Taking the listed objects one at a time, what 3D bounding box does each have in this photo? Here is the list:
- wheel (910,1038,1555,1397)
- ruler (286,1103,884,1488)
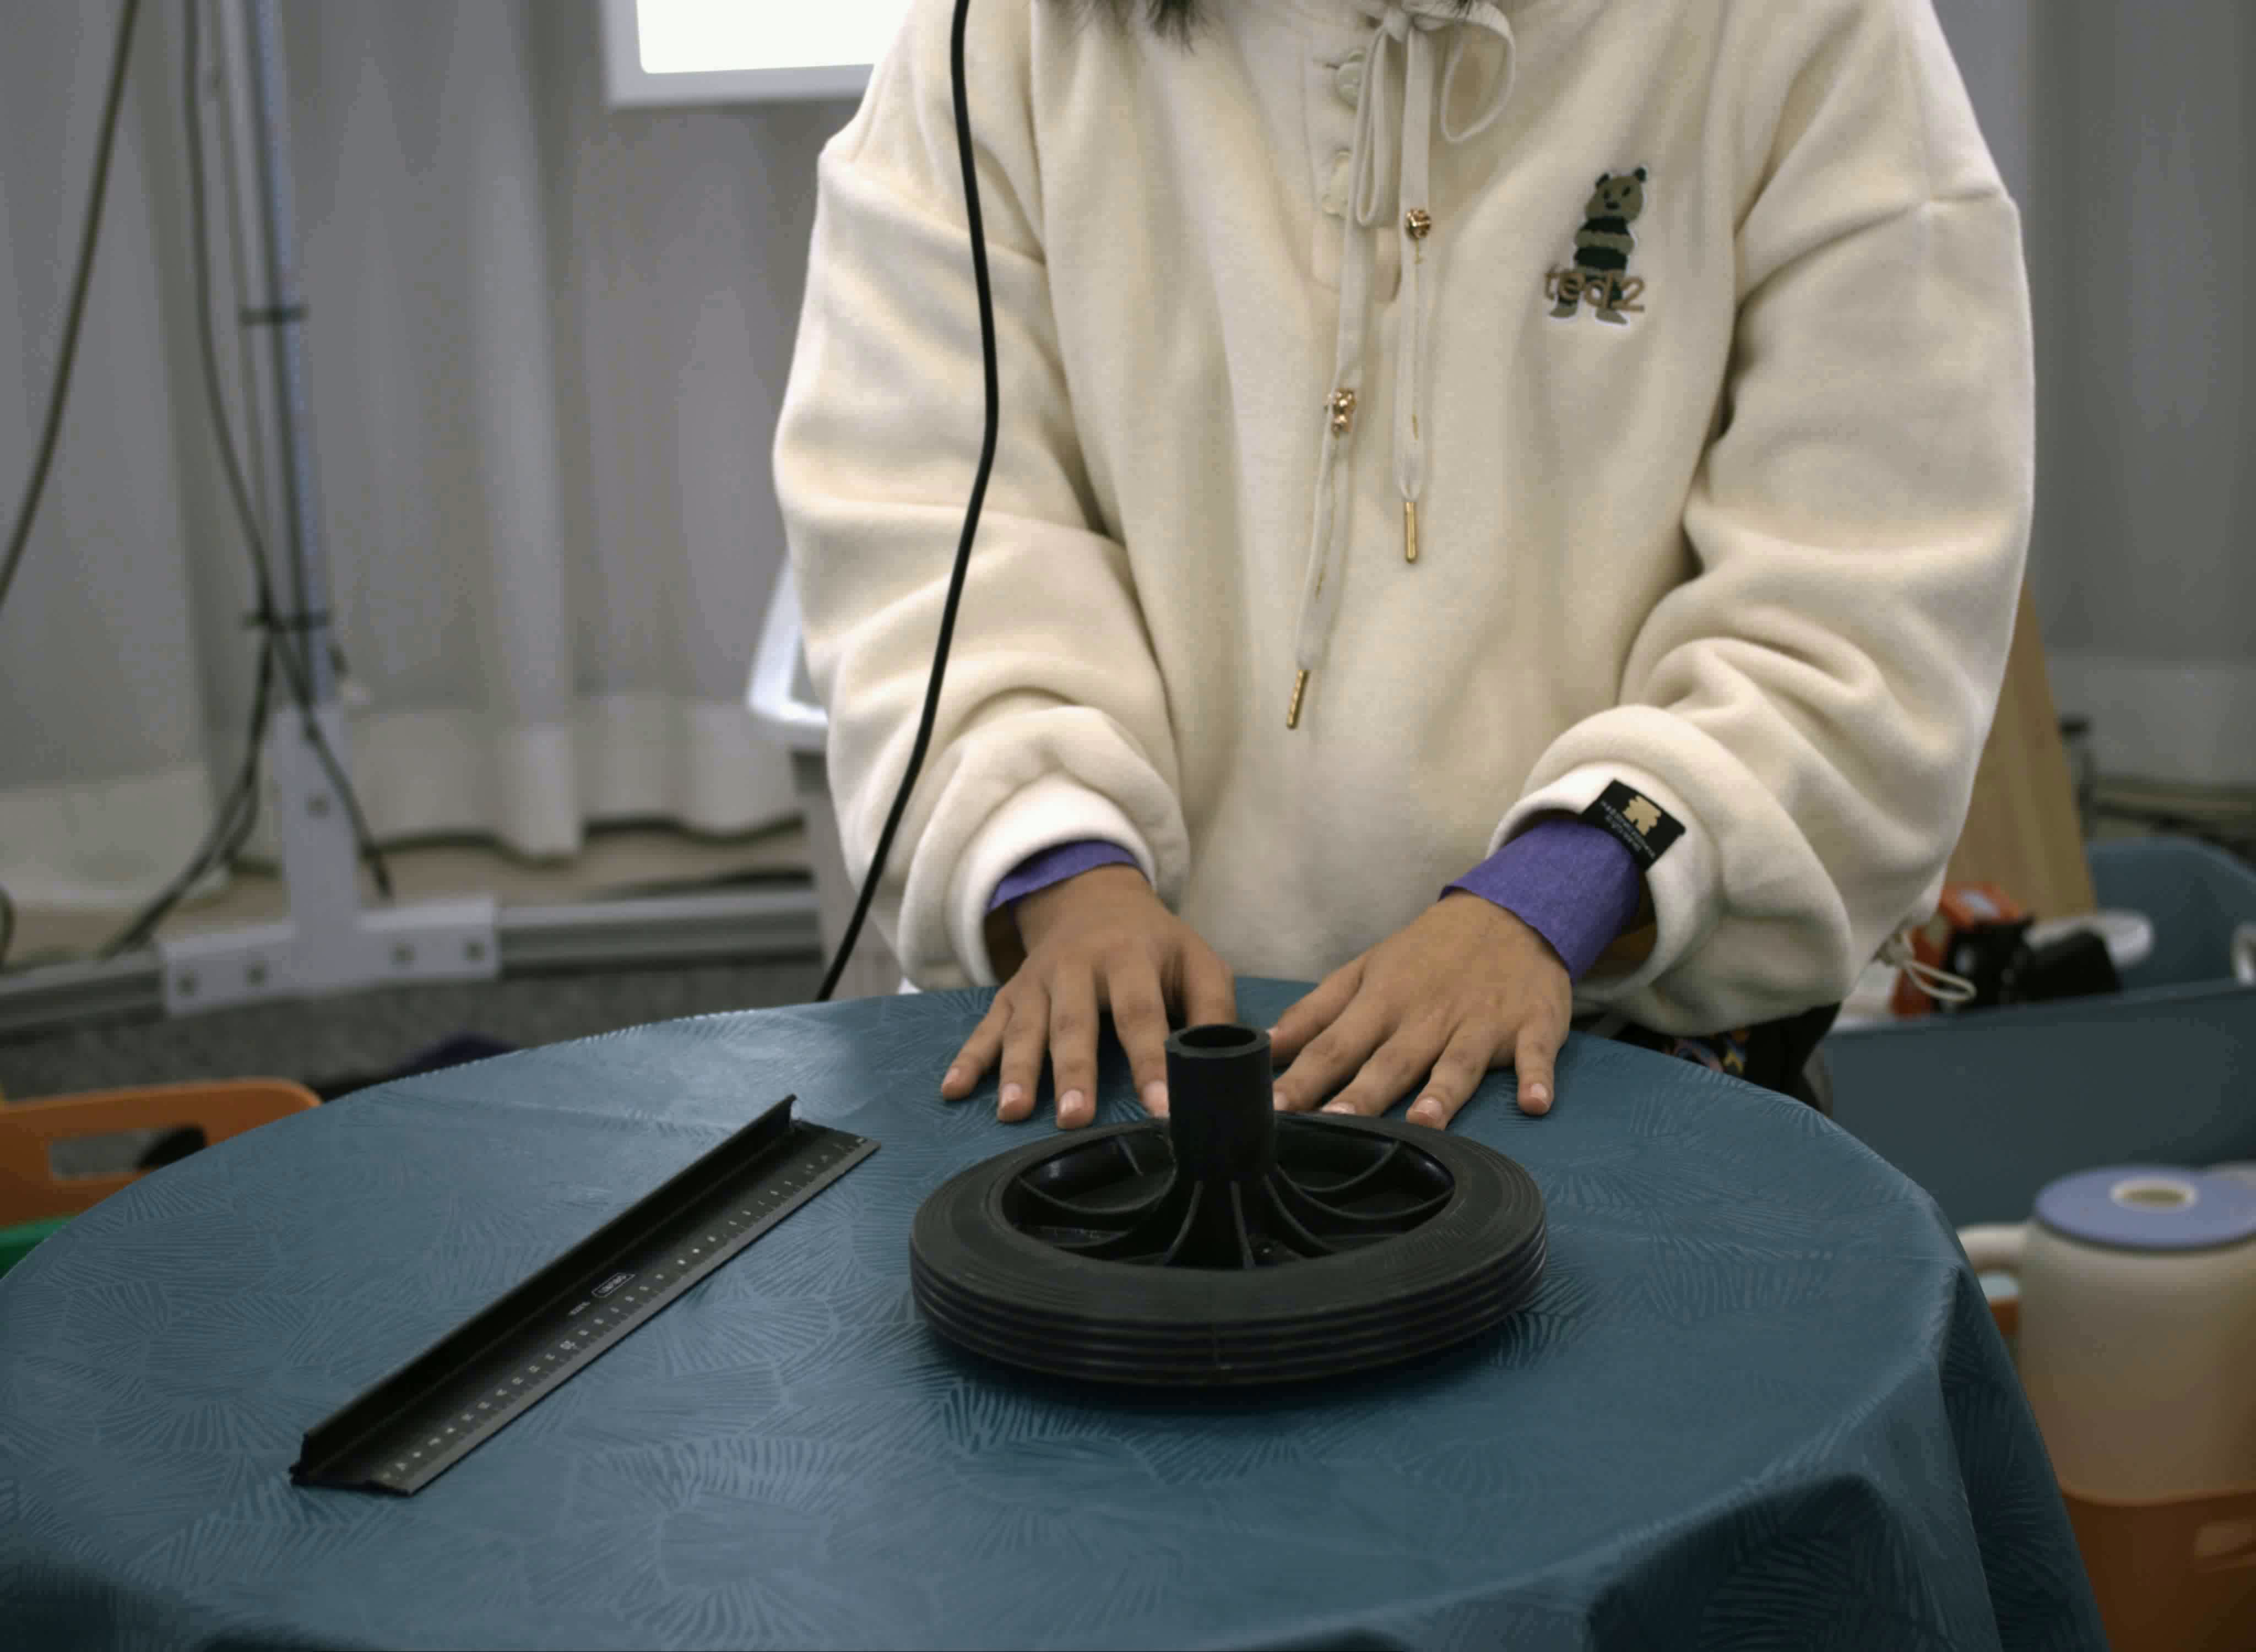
[{"bbox_3d":[0.029,0.105,1.600,0.191,0.079,0.187,9,19,38],"label":"wheel"},{"bbox_3d":[-0.155,0.136,1.635,0.039,0.017,0.313,7,17,22],"label":"ruler"}]
